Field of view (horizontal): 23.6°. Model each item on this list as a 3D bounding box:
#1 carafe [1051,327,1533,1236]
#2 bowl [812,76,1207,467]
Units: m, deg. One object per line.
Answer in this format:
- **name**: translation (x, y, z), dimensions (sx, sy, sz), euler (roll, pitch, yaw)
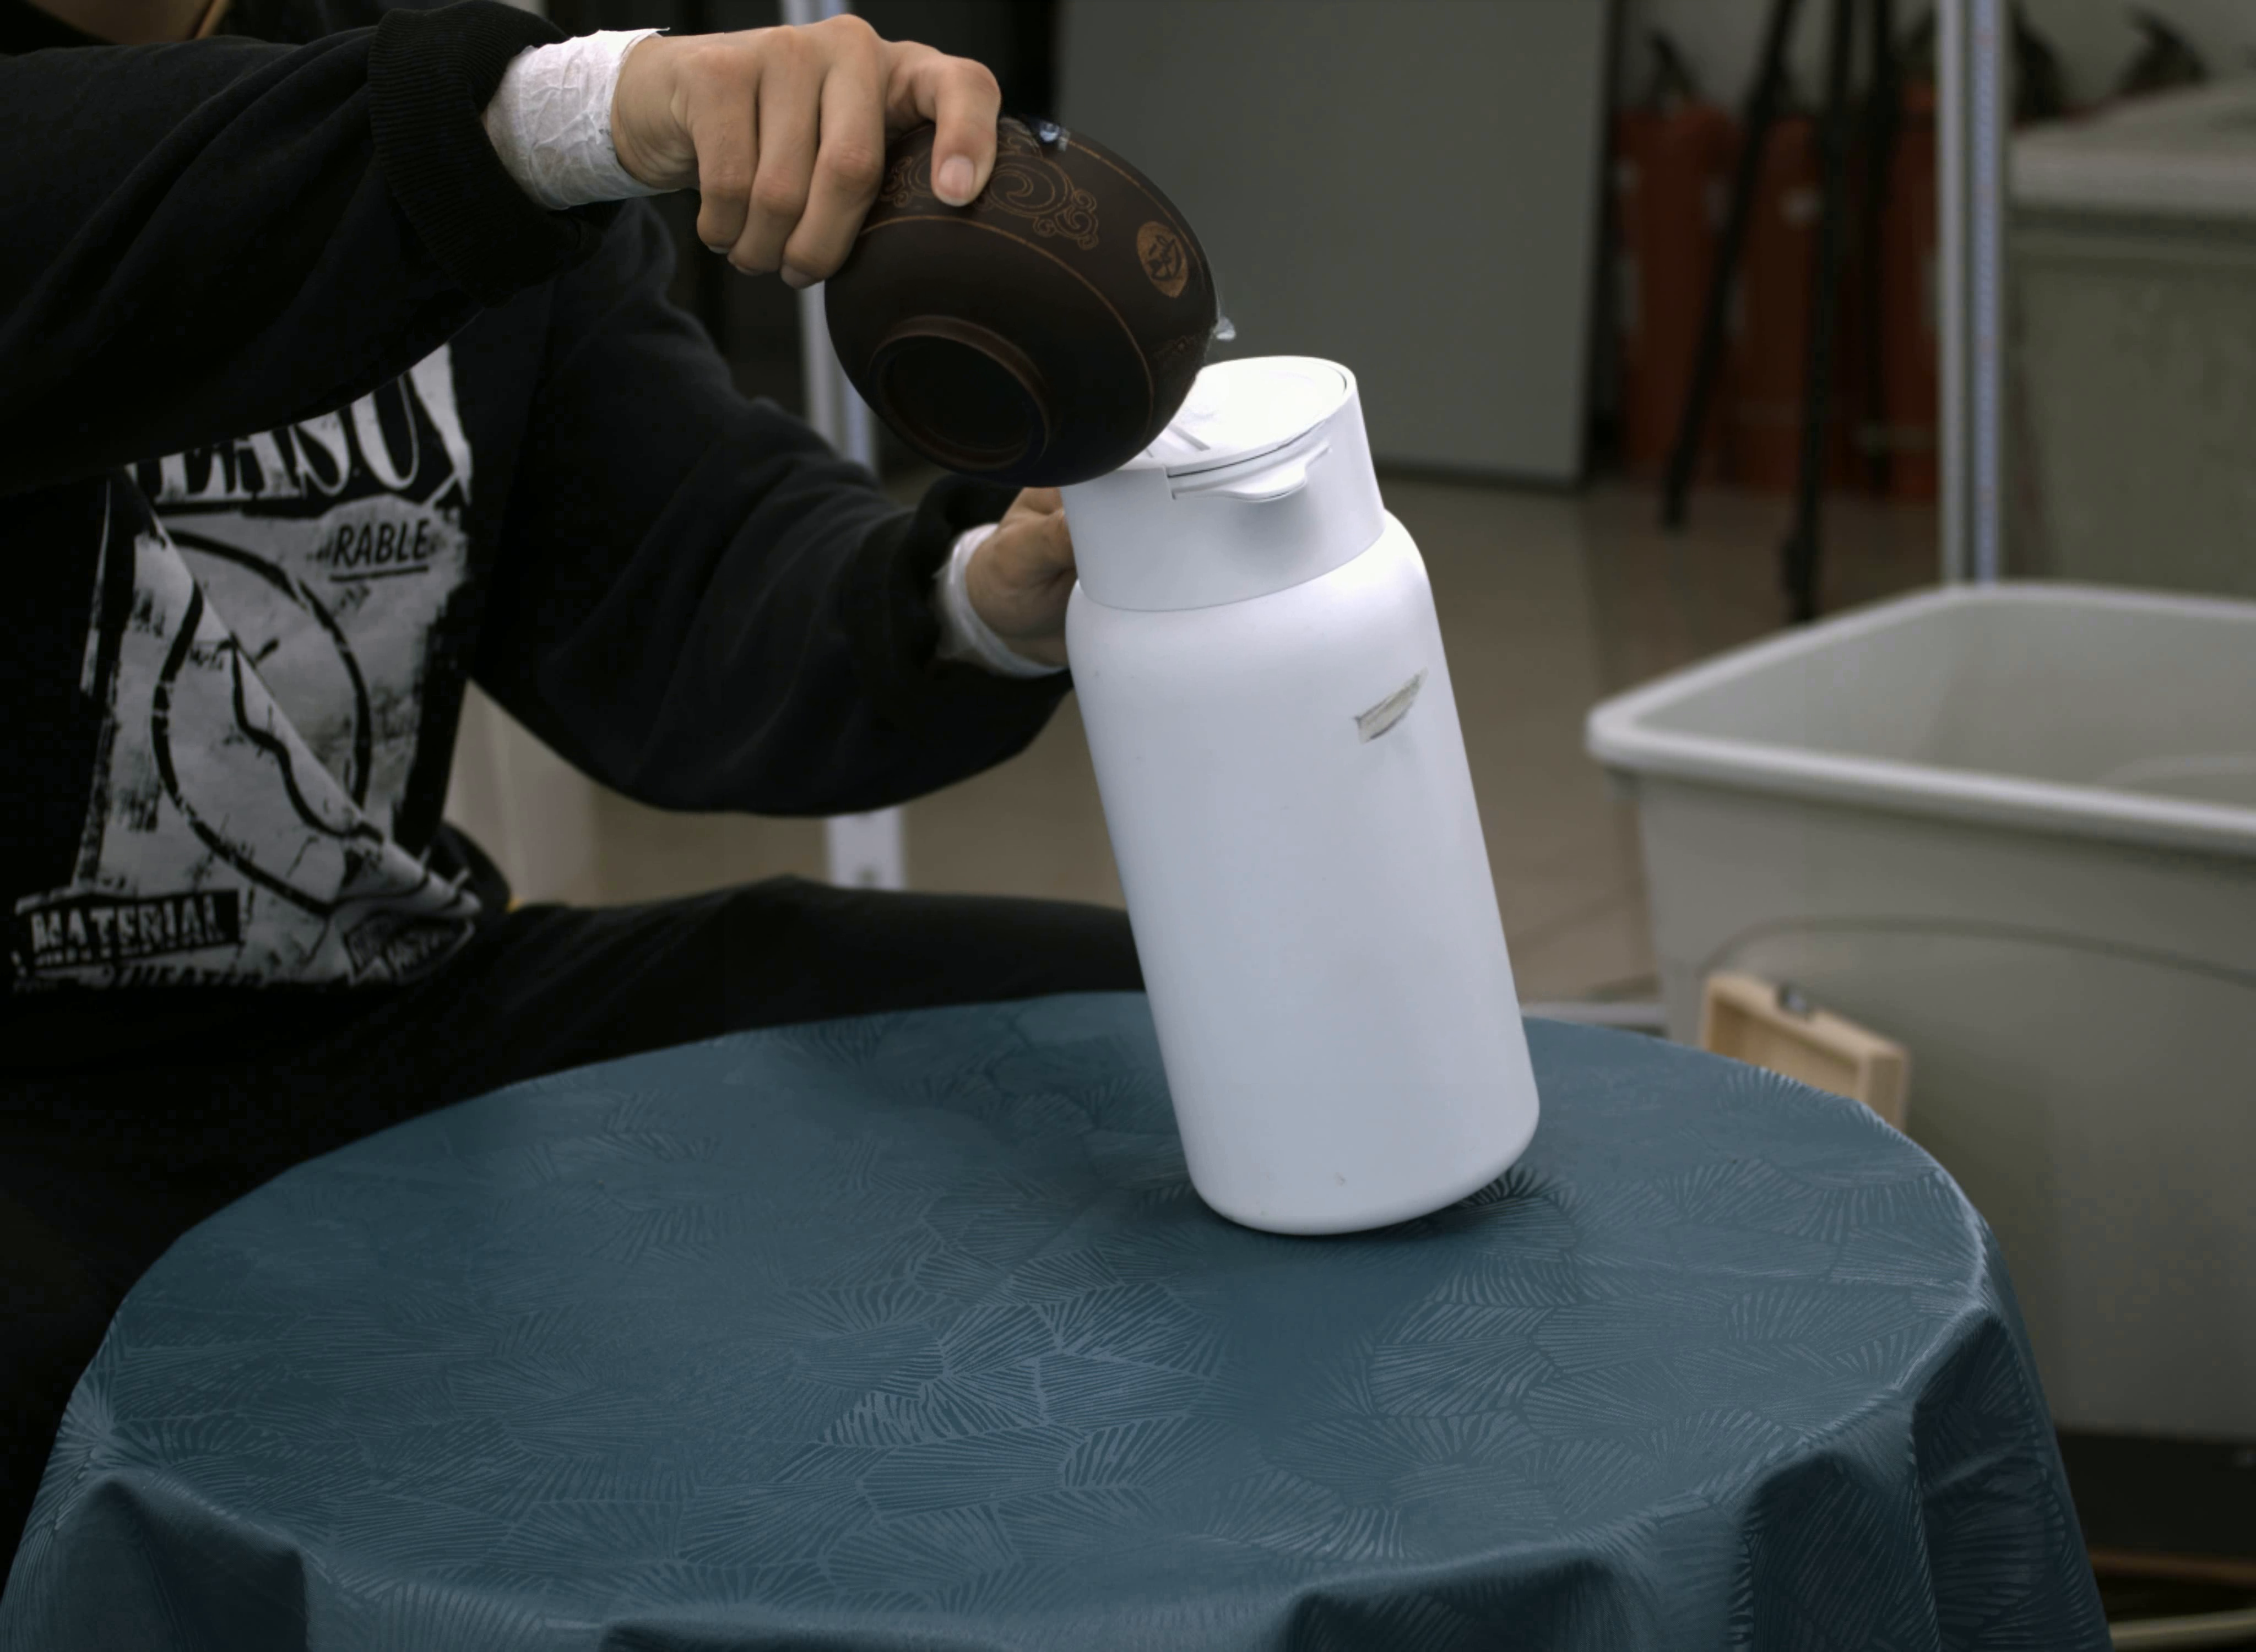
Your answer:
- **carafe**: translation (0.042, -0.016, 1.726), dimensions (0.122, 0.270, 0.174), euler (-21, 21, -13)
- **bowl**: translation (-0.041, -0.153, 1.591), dimensions (0.118, 0.117, 0.070), euler (5, 48, 31)
